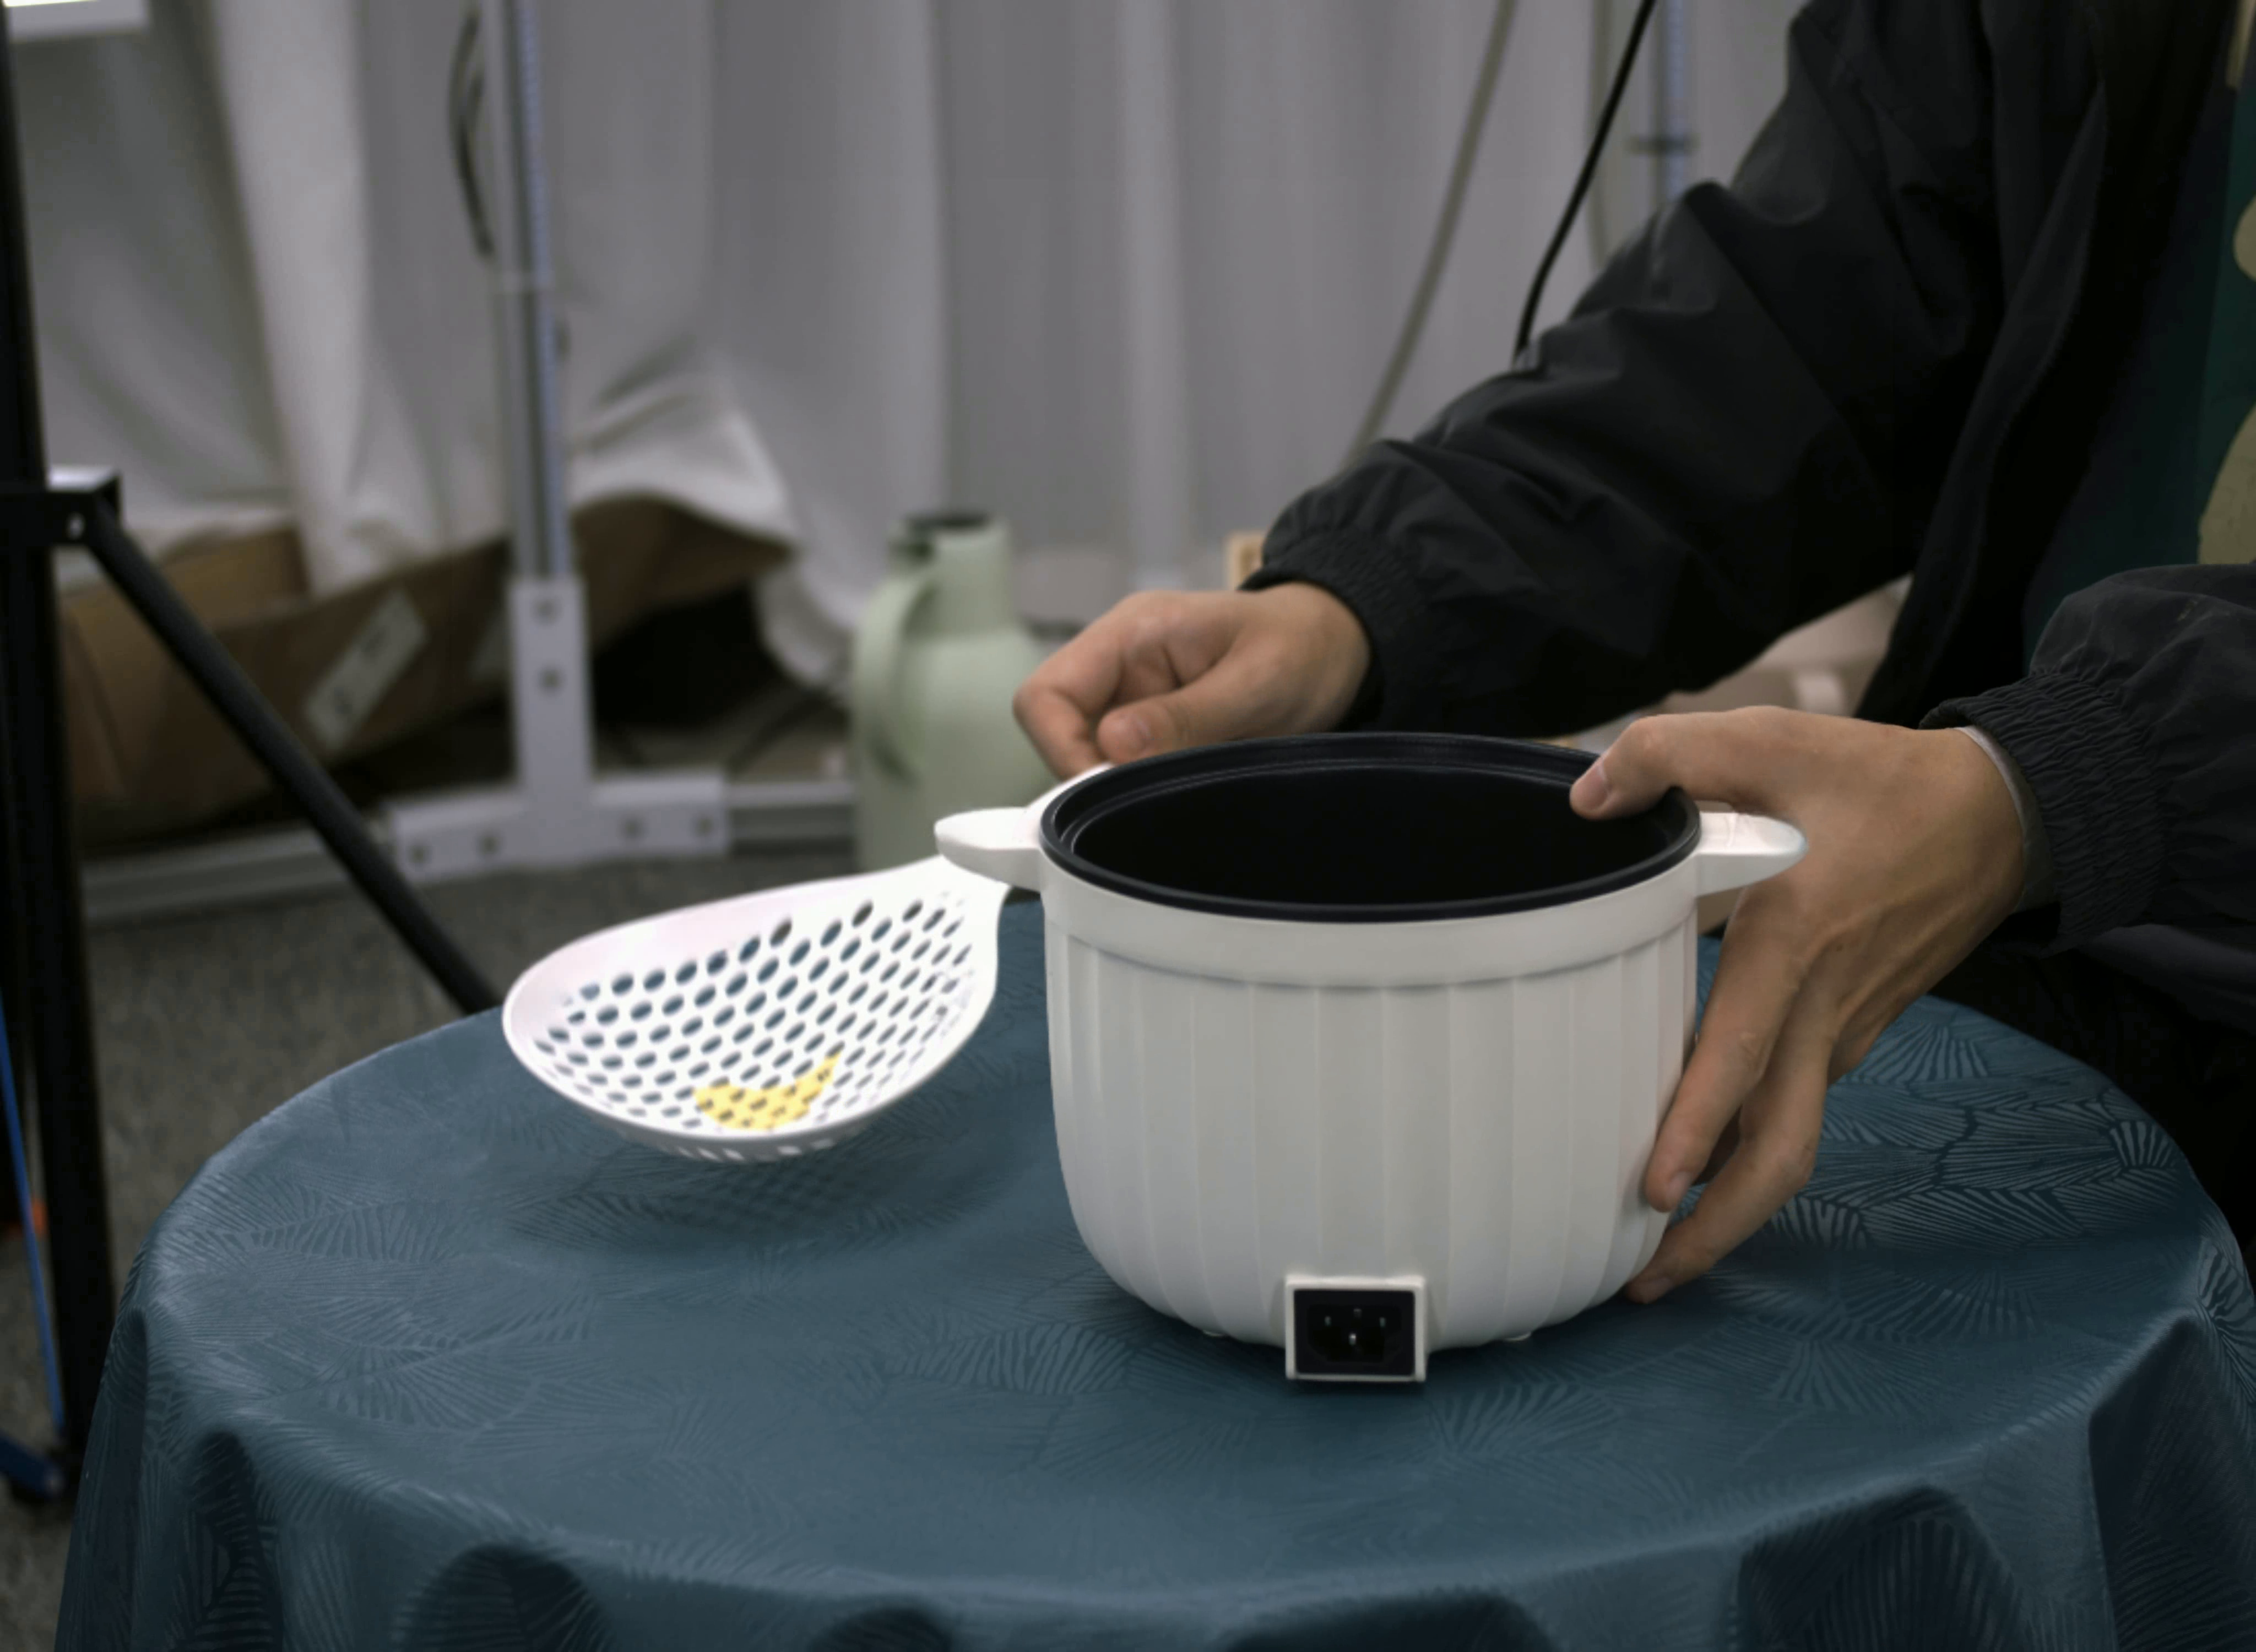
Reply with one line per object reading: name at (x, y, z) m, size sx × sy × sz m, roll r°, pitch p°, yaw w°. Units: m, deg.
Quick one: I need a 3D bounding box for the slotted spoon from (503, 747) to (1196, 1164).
slotted spoon at (-0.056, 0.028, 1.673) m, size 0.139 × 0.050 × 0.342 m, roll 16°, pitch 33°, yaw 30°

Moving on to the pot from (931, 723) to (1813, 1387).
pot at (0.066, 0.059, 1.466) m, size 0.240 × 0.142 × 0.190 m, roll 1°, pitch 19°, yaw 6°
